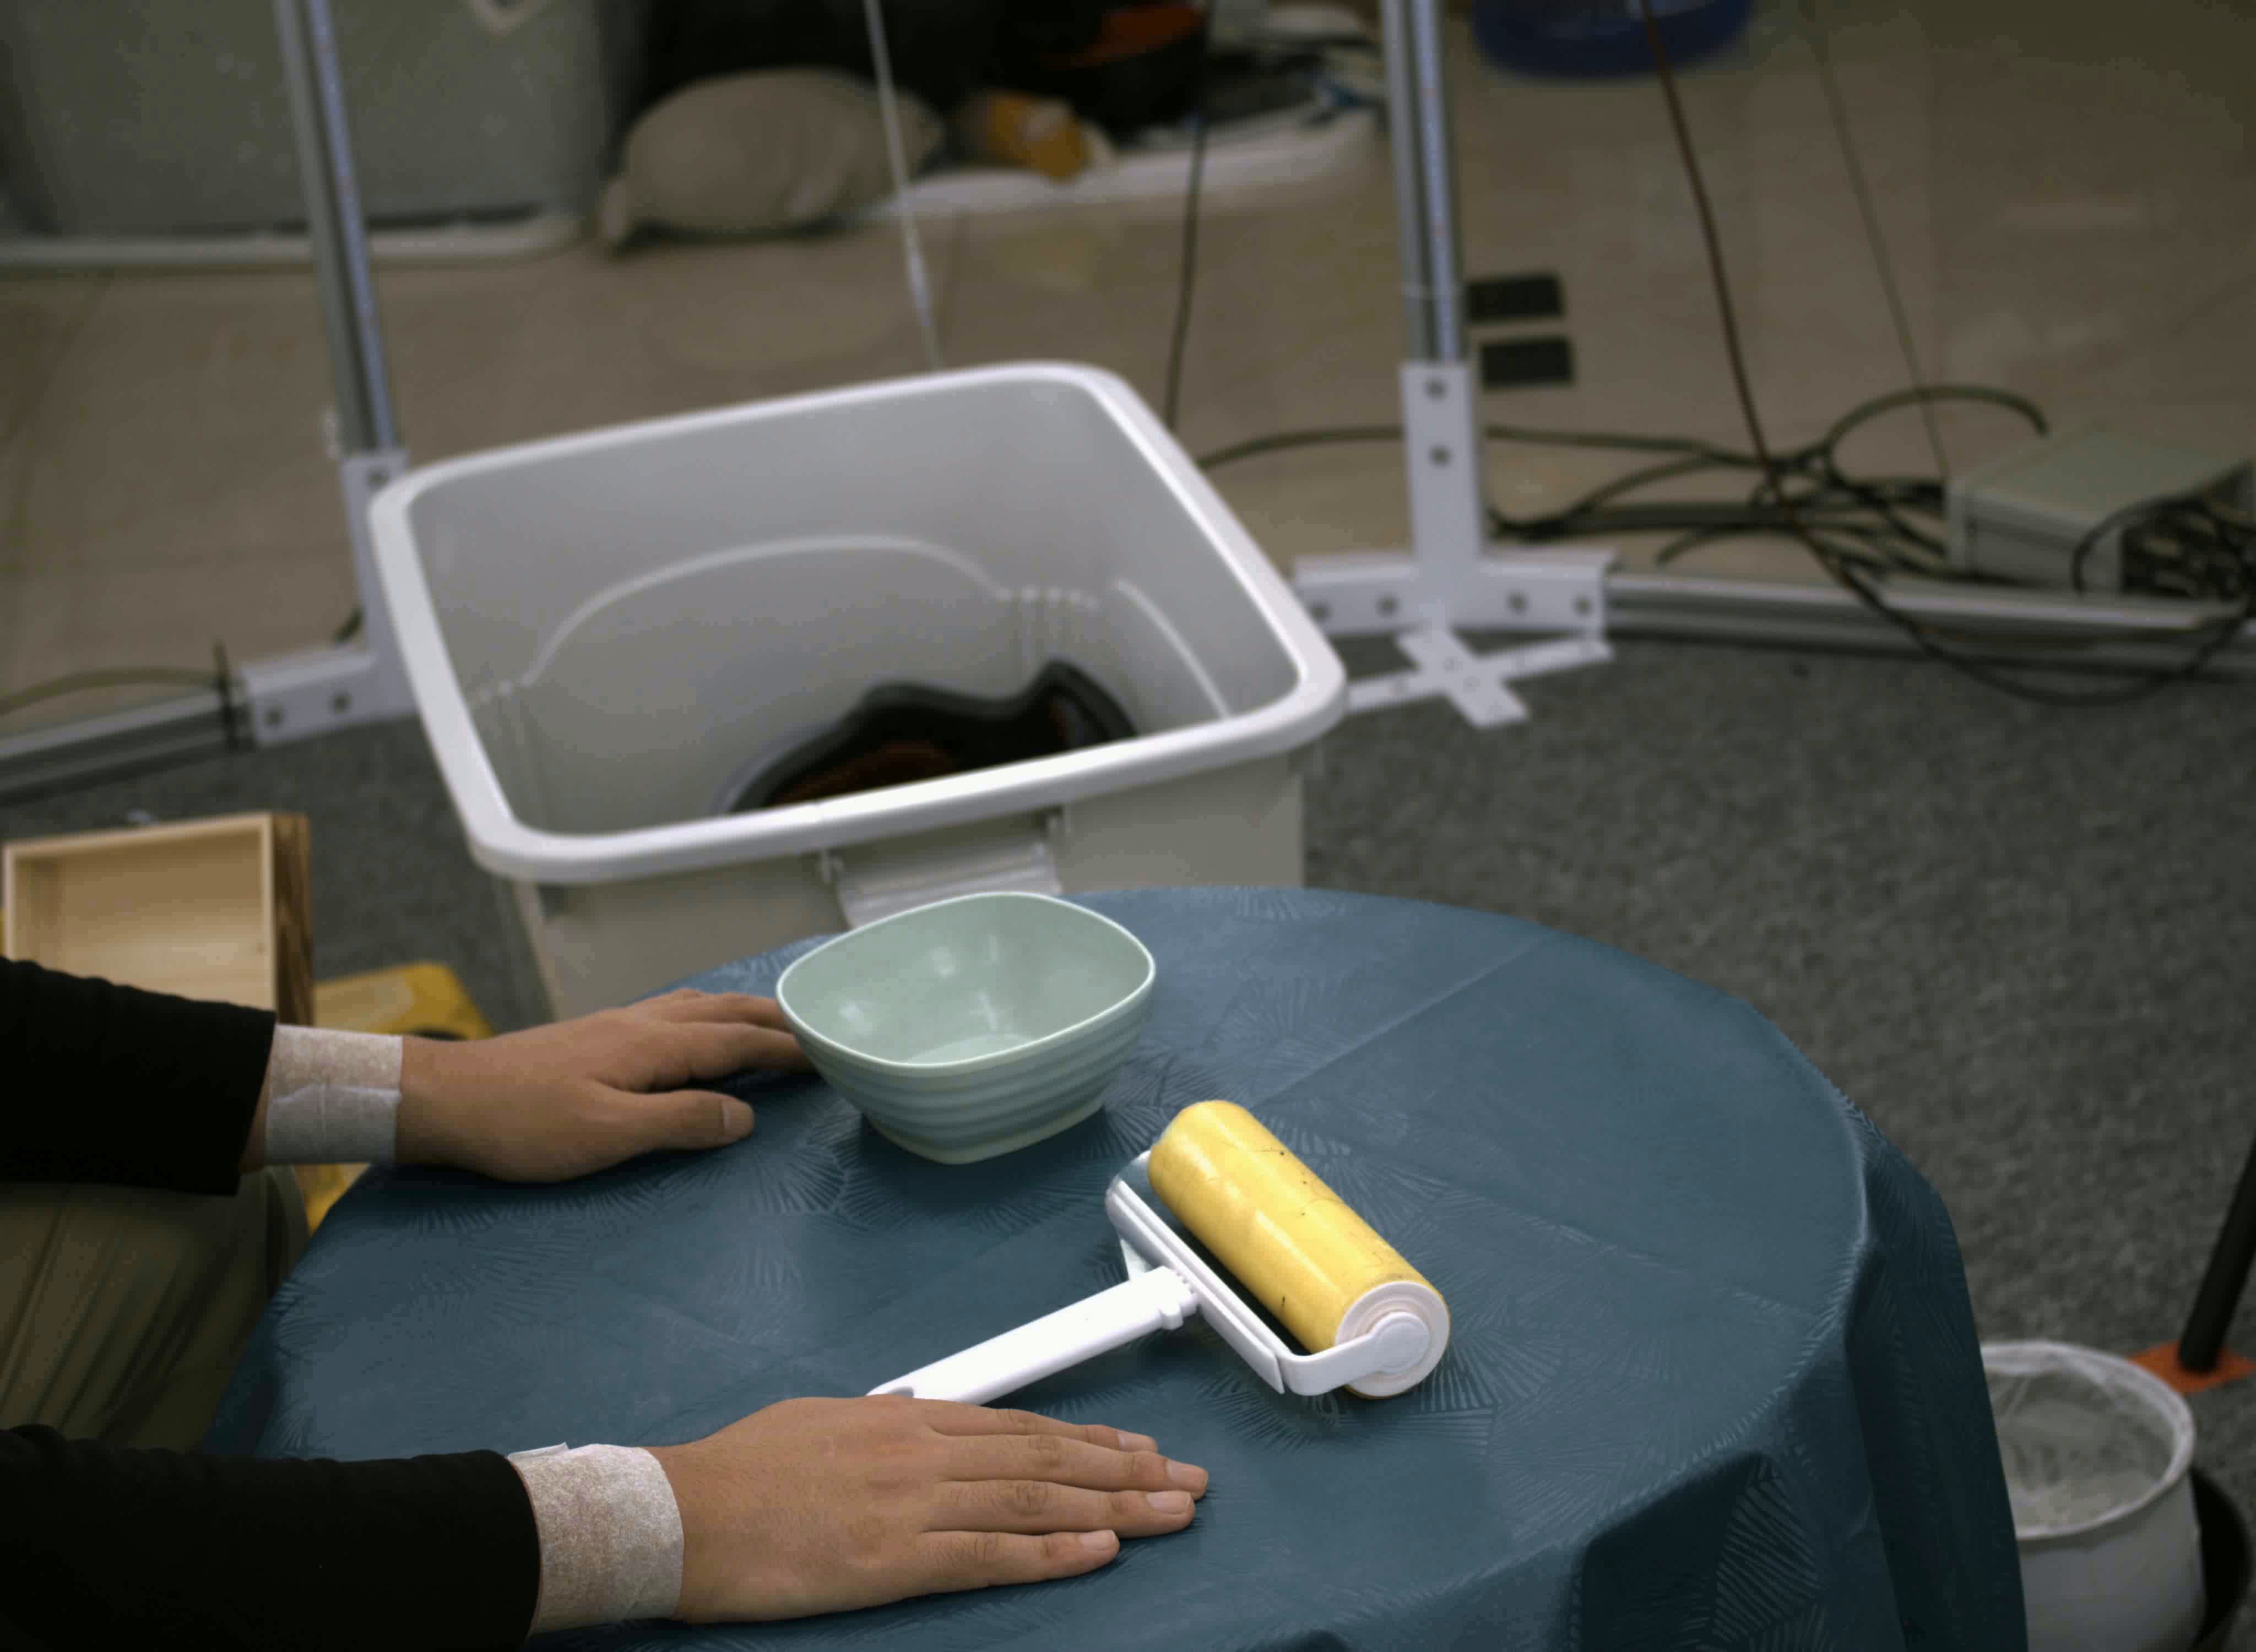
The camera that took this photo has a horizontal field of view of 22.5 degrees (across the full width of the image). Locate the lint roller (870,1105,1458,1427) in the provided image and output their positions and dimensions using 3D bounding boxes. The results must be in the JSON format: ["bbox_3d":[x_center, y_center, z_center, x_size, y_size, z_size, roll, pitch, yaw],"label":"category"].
[{"bbox_3d":[-0.004,0.168,2.023,0.191,0.052,0.172,-12,25,-22],"label":"lint roller"}]

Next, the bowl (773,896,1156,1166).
[{"bbox_3d":[-0.062,0.085,2.211,0.151,0.059,0.149,-4,25,2],"label":"bowl"}]
